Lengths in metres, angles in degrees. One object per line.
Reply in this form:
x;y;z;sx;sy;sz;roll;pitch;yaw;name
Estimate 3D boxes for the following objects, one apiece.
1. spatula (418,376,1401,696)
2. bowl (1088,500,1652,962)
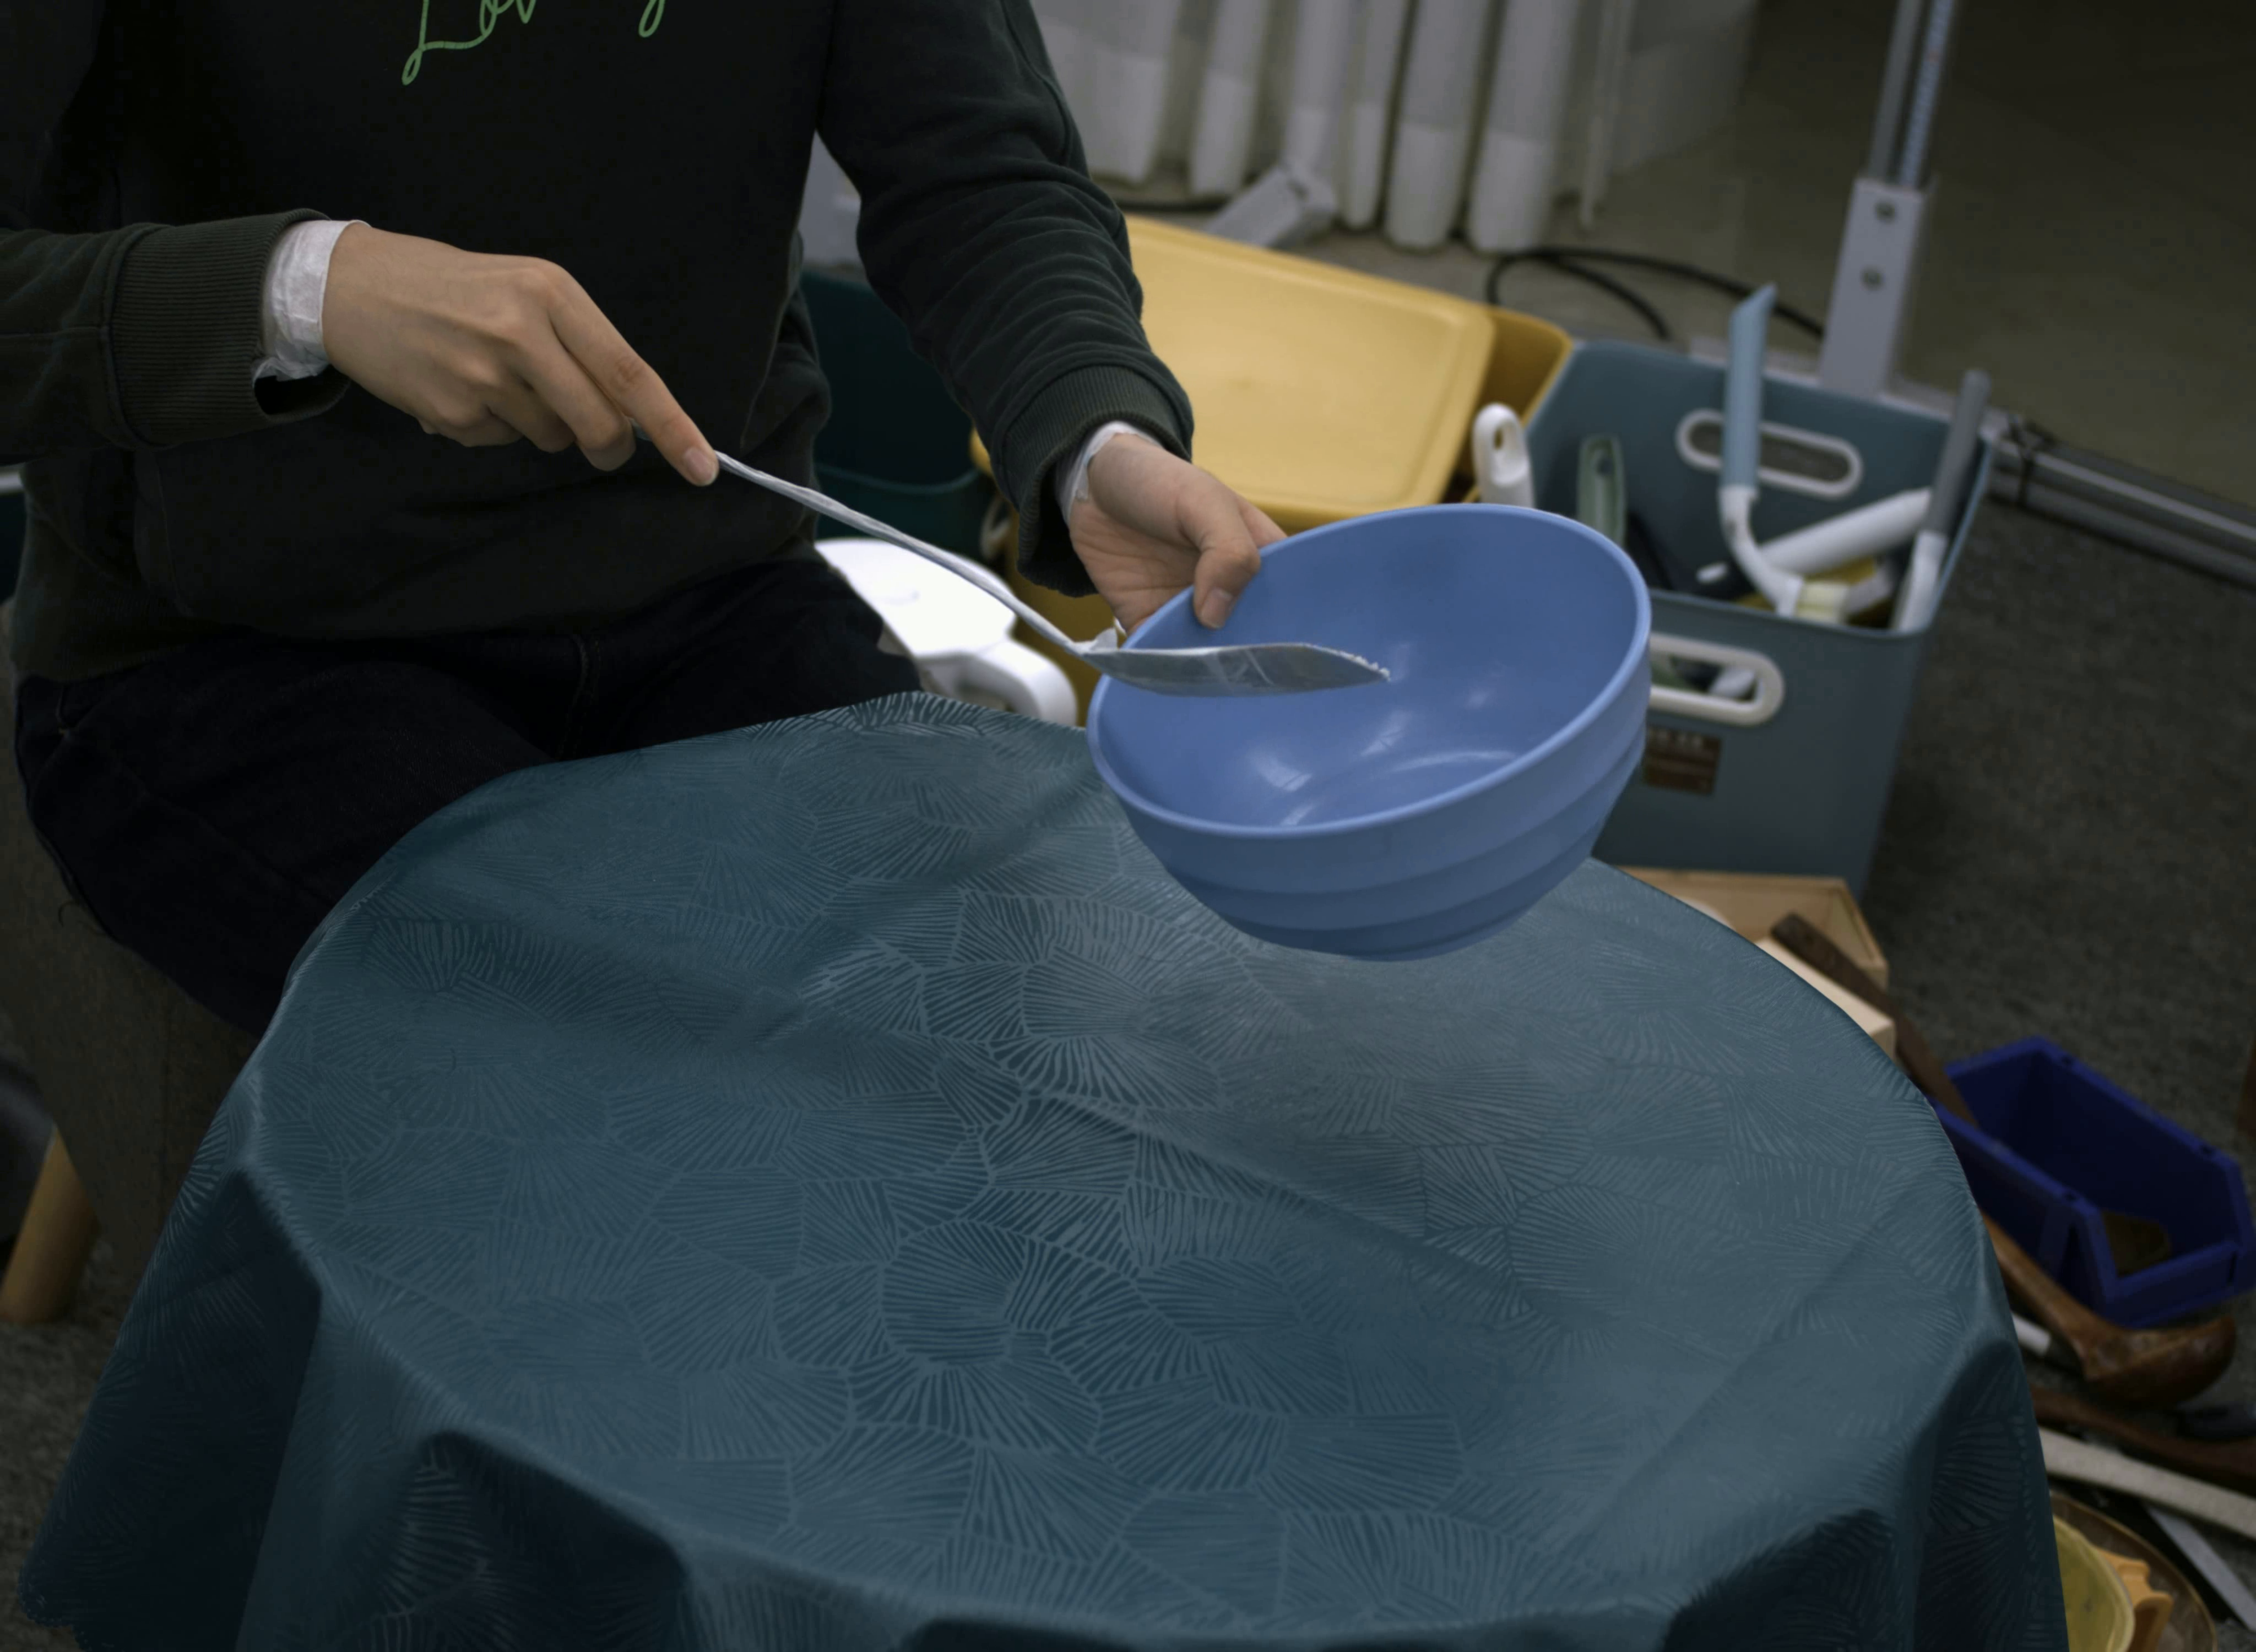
-0.082;-0.104;1.803;0.366;0.045;0.098;24;3;16;spatula
0.092;-0.019;1.815;0.196;0.095;0.198;-14;32;9;bowl
